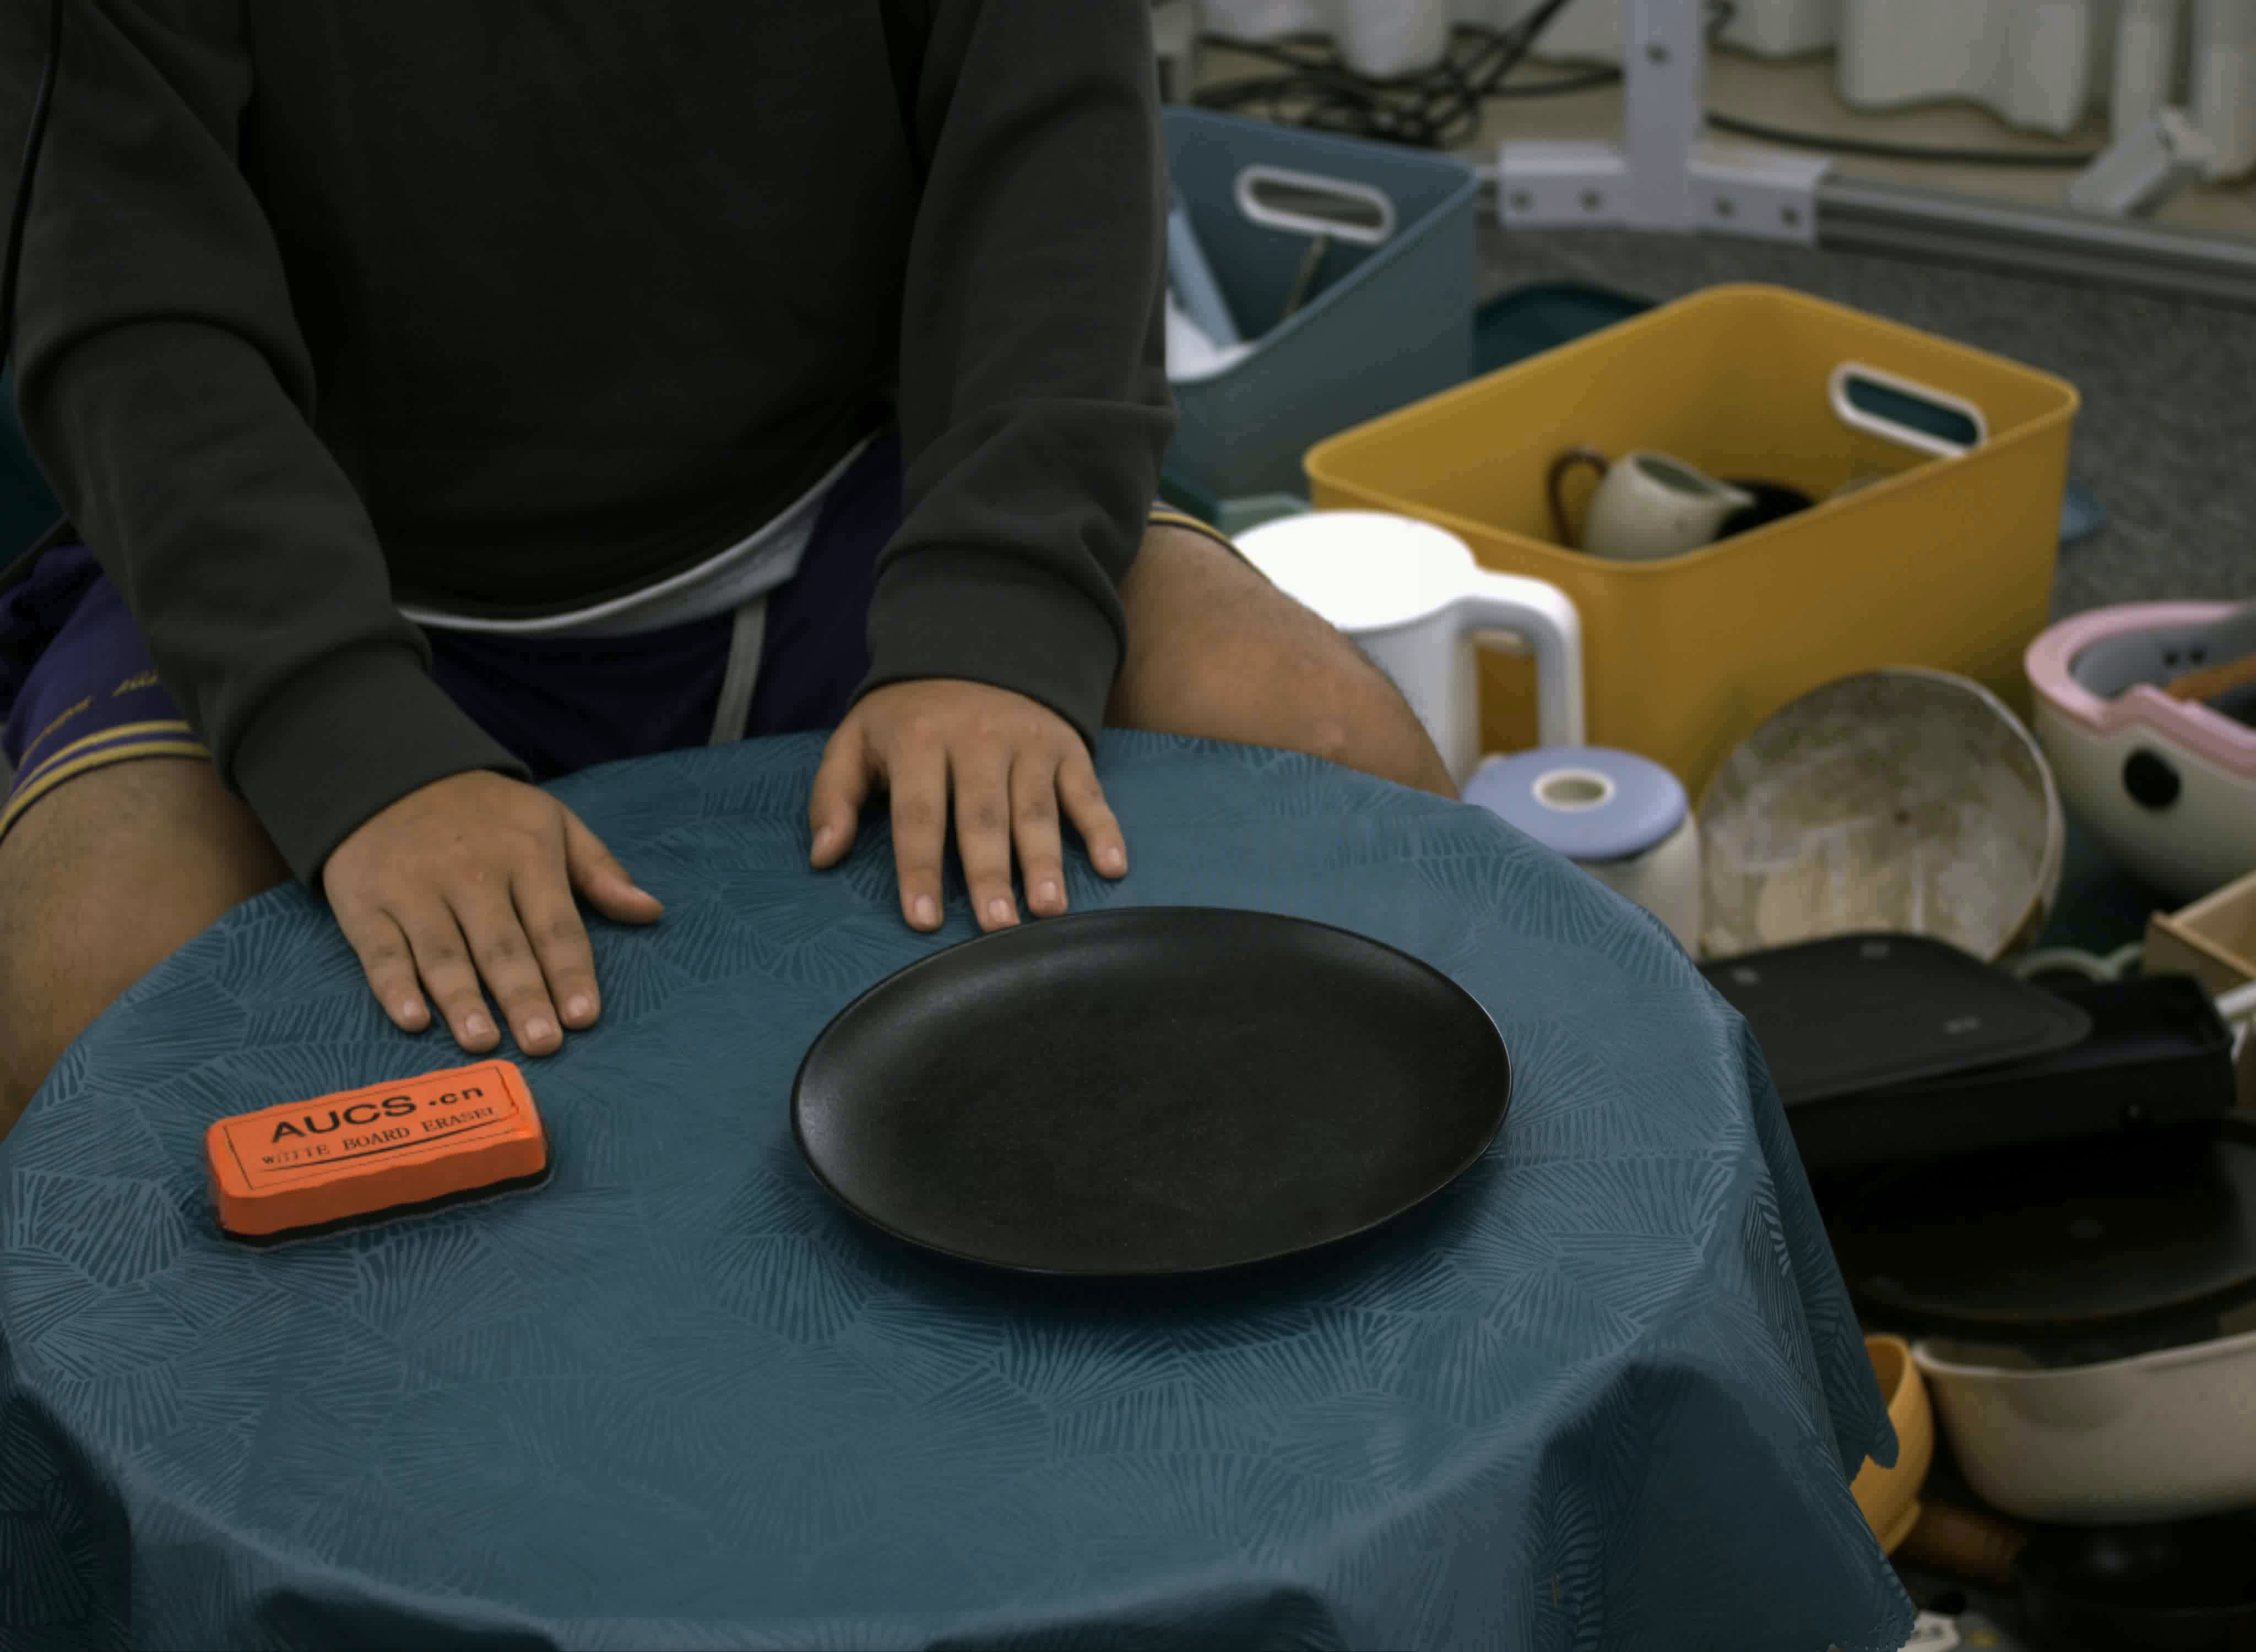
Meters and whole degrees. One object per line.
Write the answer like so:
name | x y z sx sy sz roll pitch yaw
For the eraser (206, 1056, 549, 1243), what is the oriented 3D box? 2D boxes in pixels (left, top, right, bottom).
eraser | -0.251 0.109 1.881 0.108 0.022 0.059 -11 29 -18

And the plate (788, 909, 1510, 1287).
plate | 0.007 0.095 1.888 0.243 0.023 0.248 -2 28 2
